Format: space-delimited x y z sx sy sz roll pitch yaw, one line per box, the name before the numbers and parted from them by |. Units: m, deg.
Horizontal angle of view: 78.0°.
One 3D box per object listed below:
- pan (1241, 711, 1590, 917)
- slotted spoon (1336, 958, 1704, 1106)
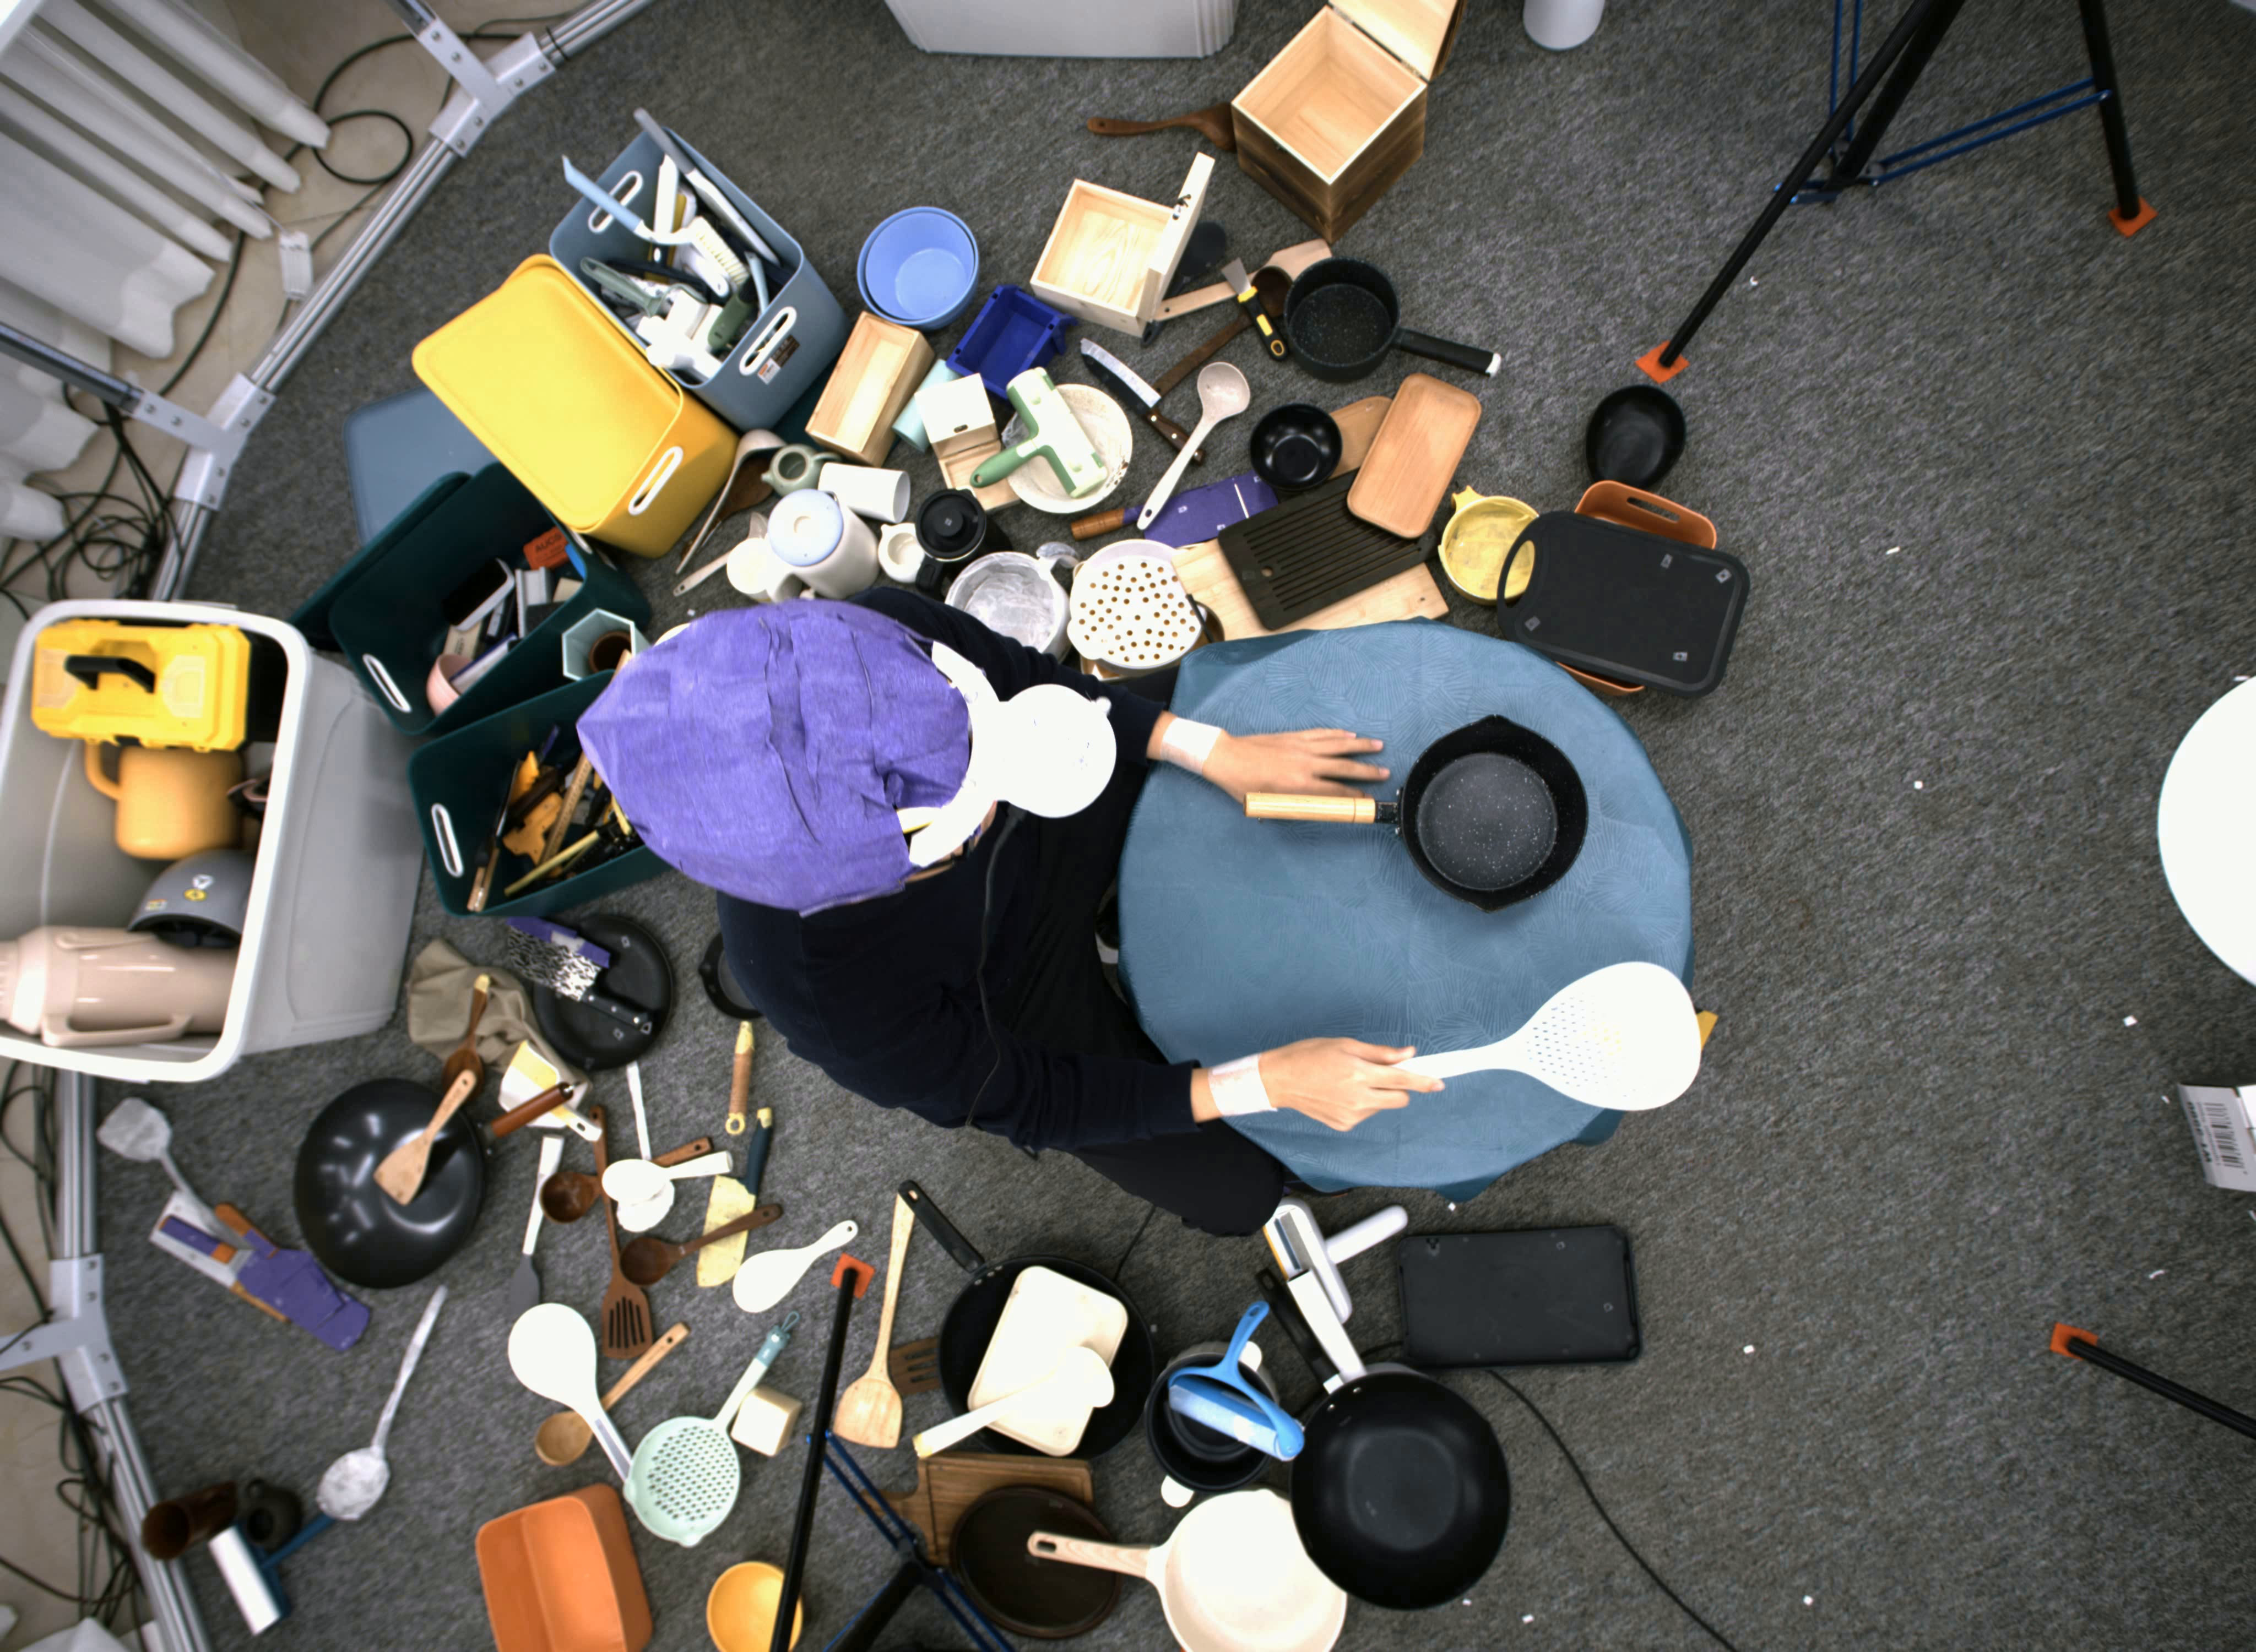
pan | 0.289 -0.012 1.406 0.344 0.108 0.207 1 87 9
slotted spoon | 0.366 0.211 1.289 0.347 0.050 0.136 -10 84 -7
